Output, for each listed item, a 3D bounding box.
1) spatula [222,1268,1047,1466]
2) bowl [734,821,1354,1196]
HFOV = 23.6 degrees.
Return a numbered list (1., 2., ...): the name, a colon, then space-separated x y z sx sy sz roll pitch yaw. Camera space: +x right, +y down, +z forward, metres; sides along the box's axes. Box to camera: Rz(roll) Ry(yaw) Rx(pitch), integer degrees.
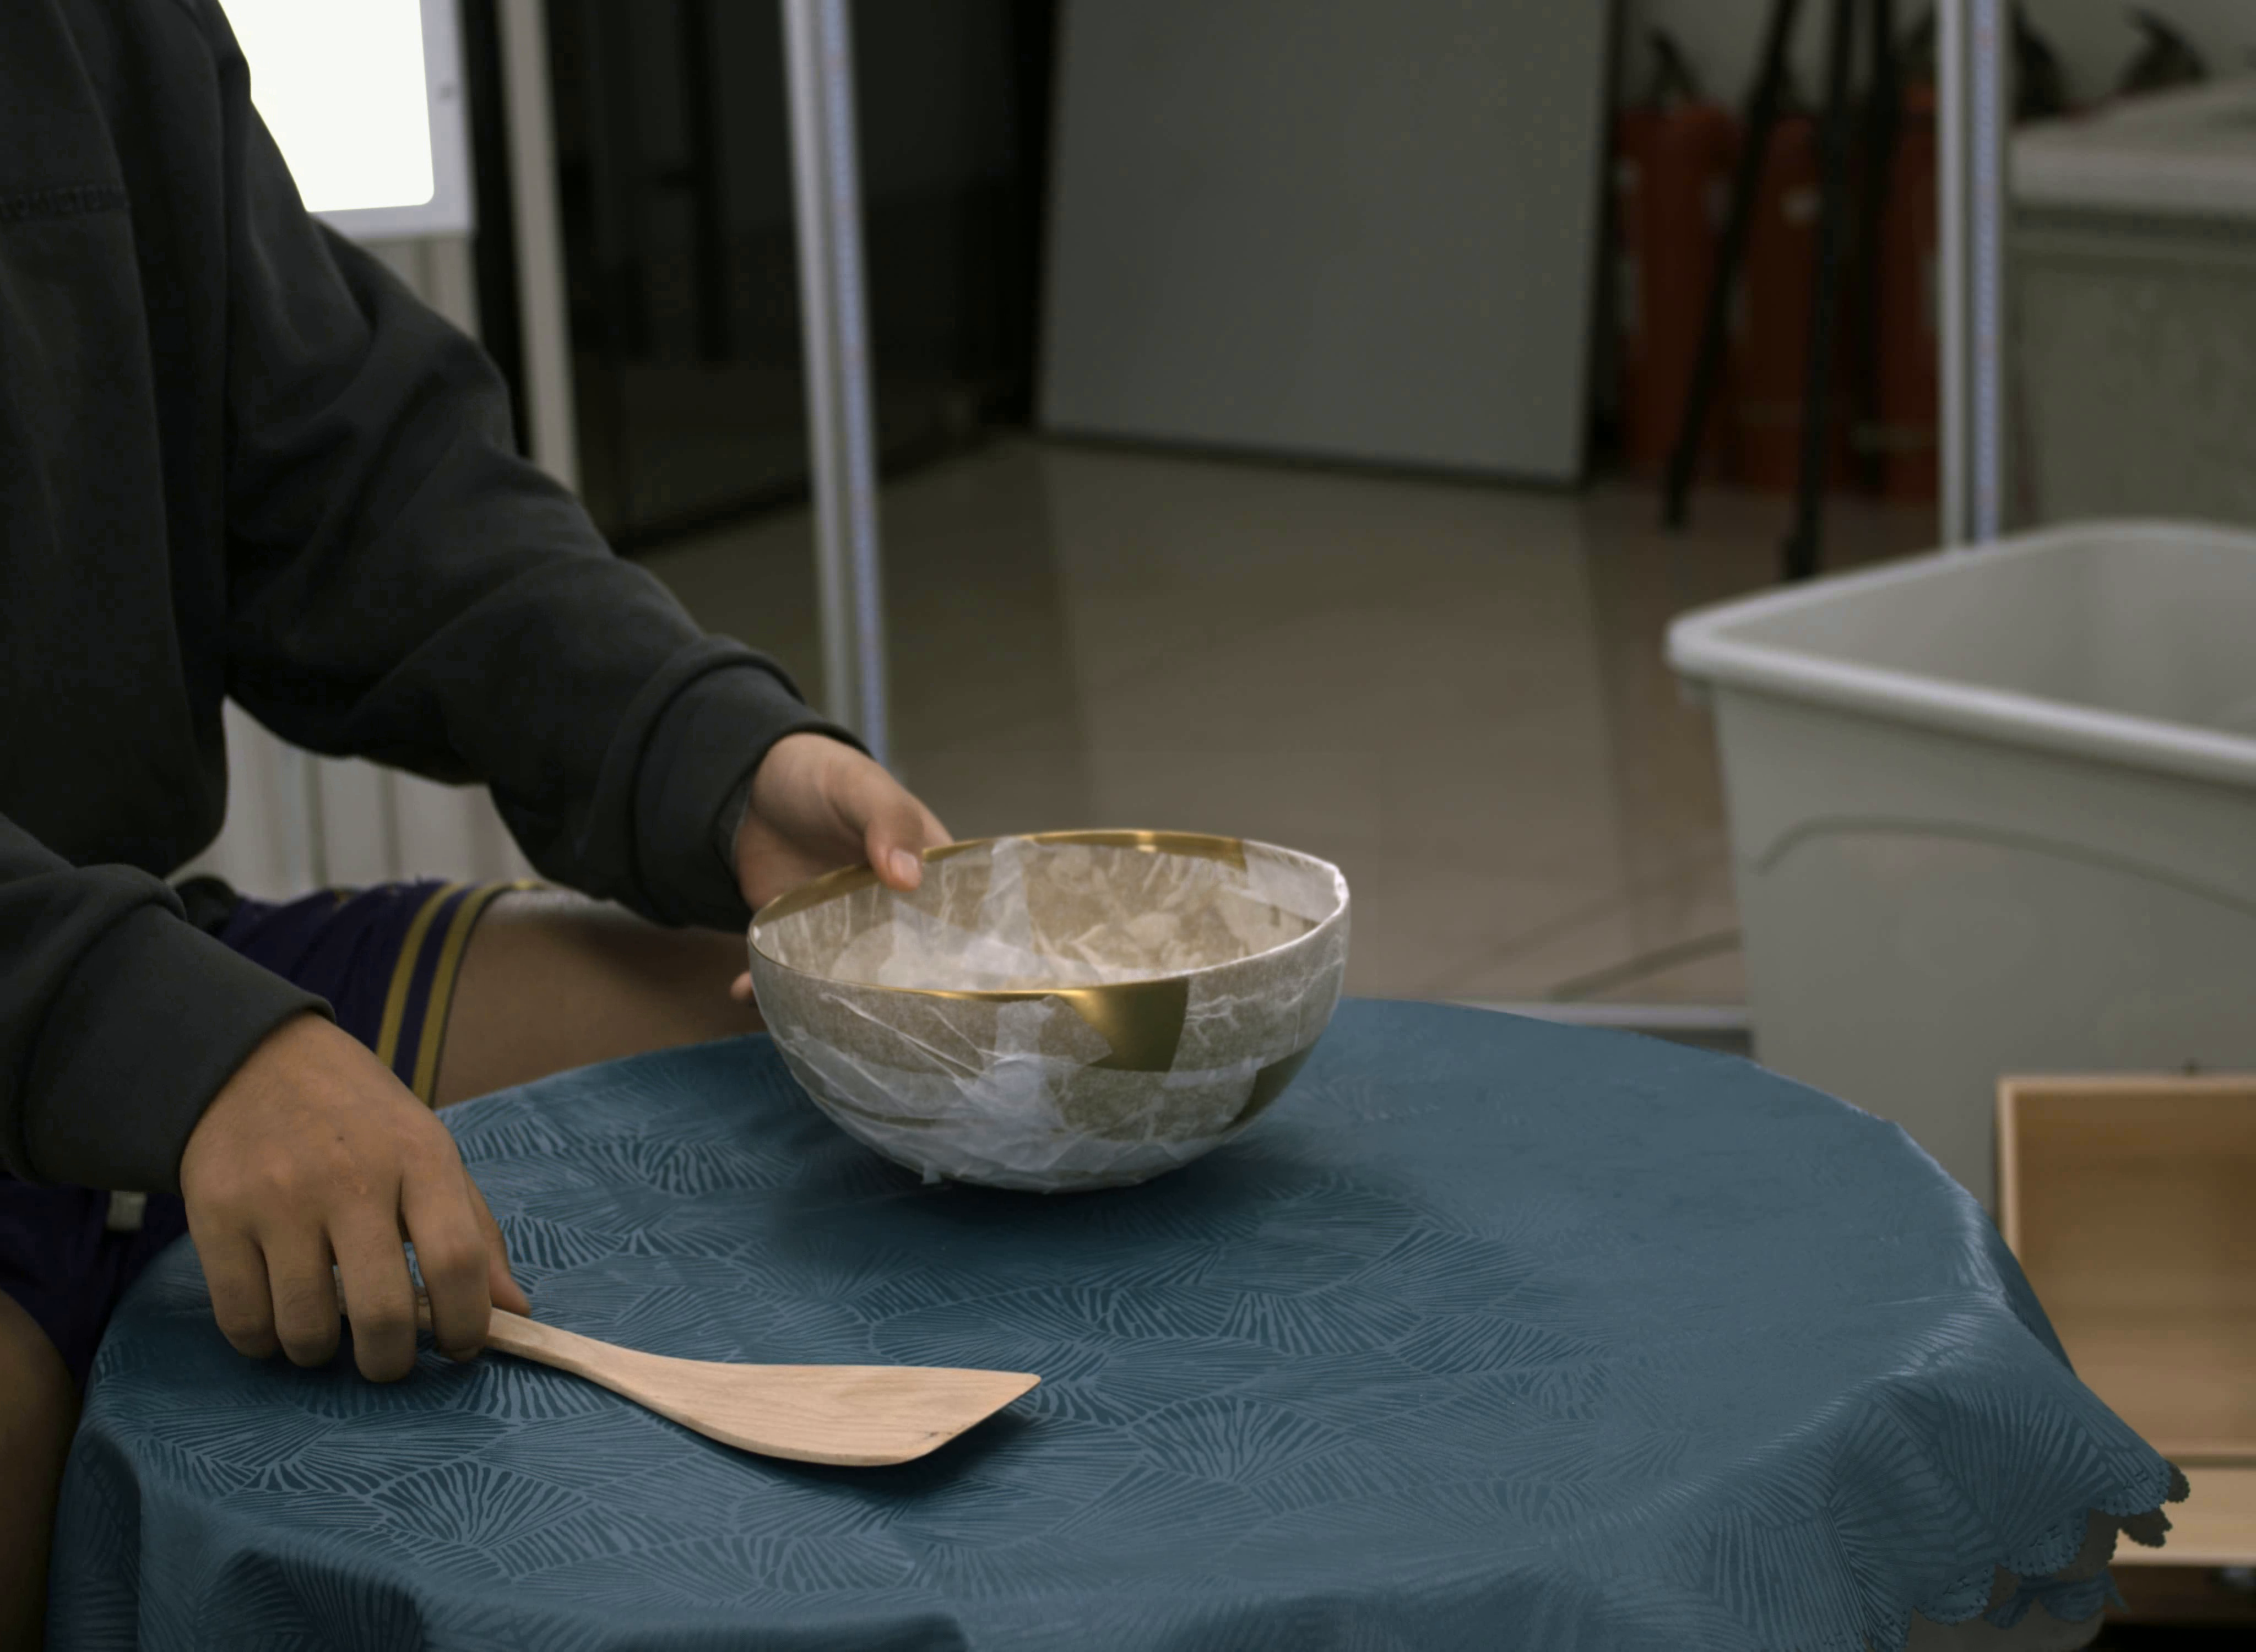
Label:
1. spatula: -0.159 0.158 1.631 0.330 0.017 0.078 7 18 40
2. bowl: -0.026 0.067 1.792 0.212 0.095 0.215 -4 14 0
